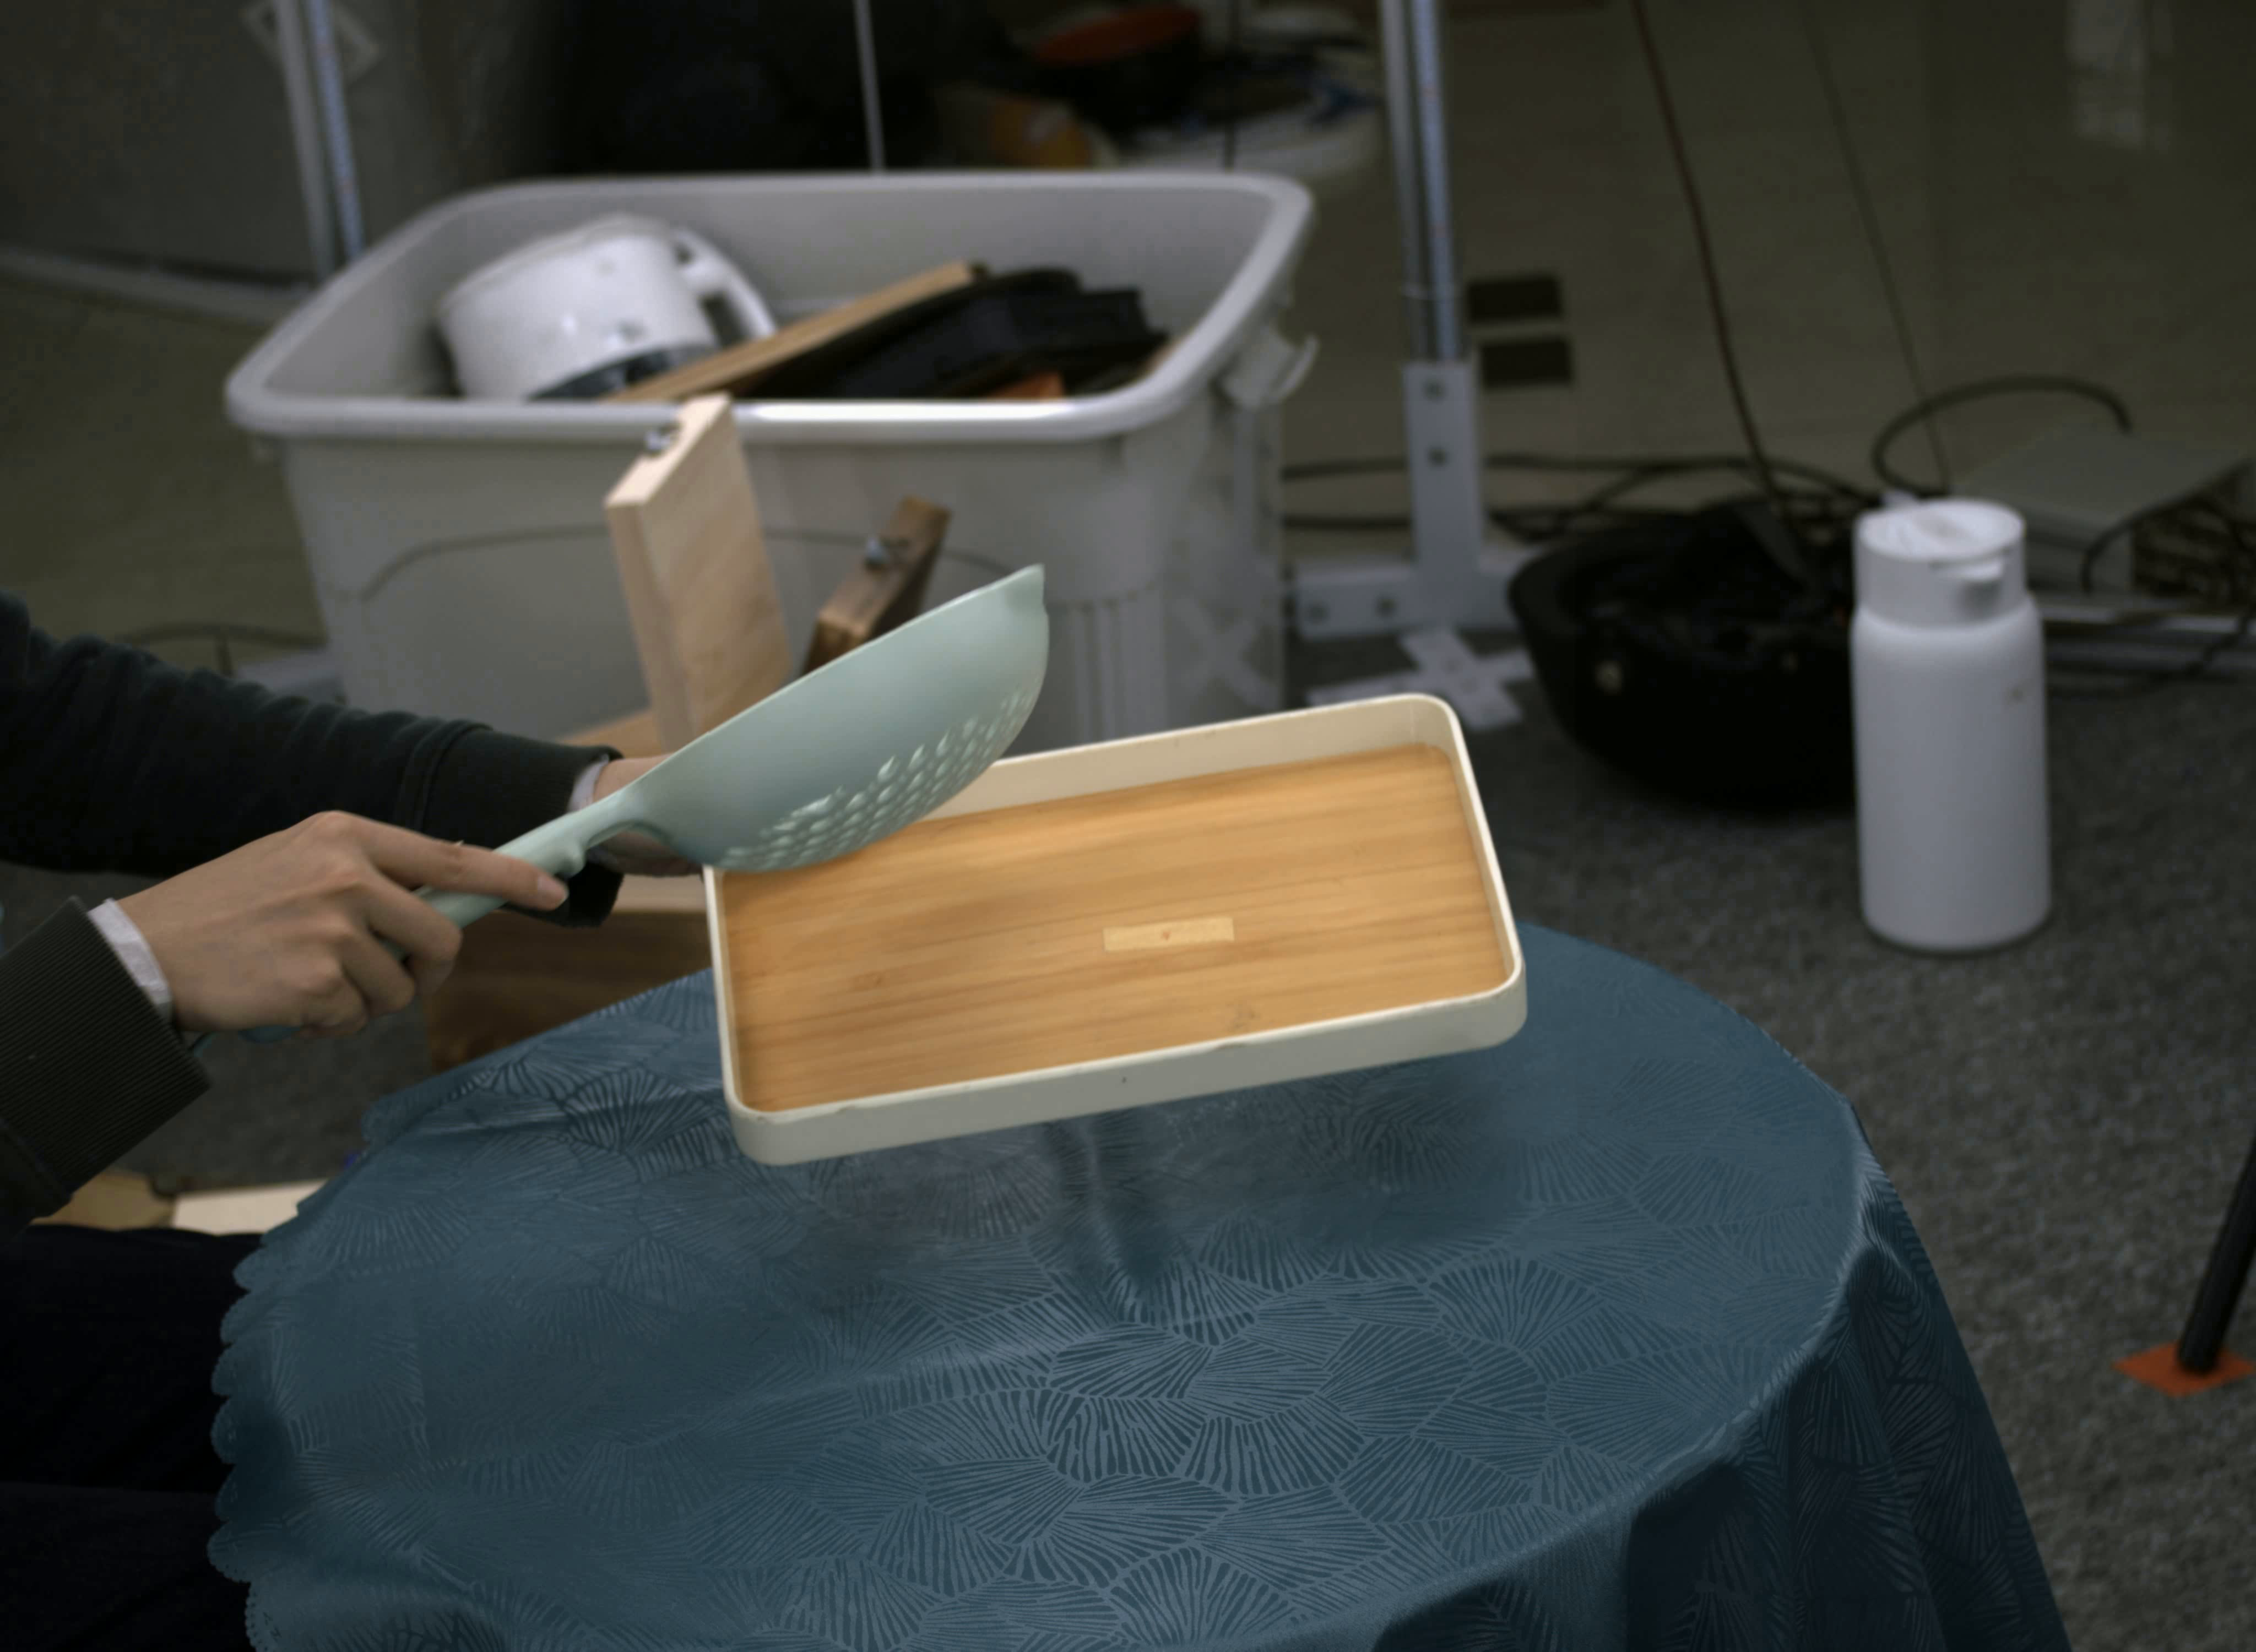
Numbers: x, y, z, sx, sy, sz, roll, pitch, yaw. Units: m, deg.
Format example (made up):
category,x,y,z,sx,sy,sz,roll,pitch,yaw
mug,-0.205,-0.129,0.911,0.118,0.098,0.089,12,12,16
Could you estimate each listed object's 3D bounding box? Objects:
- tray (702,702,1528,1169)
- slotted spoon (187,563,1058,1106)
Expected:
category,x,y,z,sx,sy,sz,roll,pitch,yaw
tray,-0.009,0.039,2.151,0.300,0.028,0.188,-9,40,-1
slotted spoon,-0.177,0.003,1.999,0.357,0.075,0.170,-20,-5,-22
